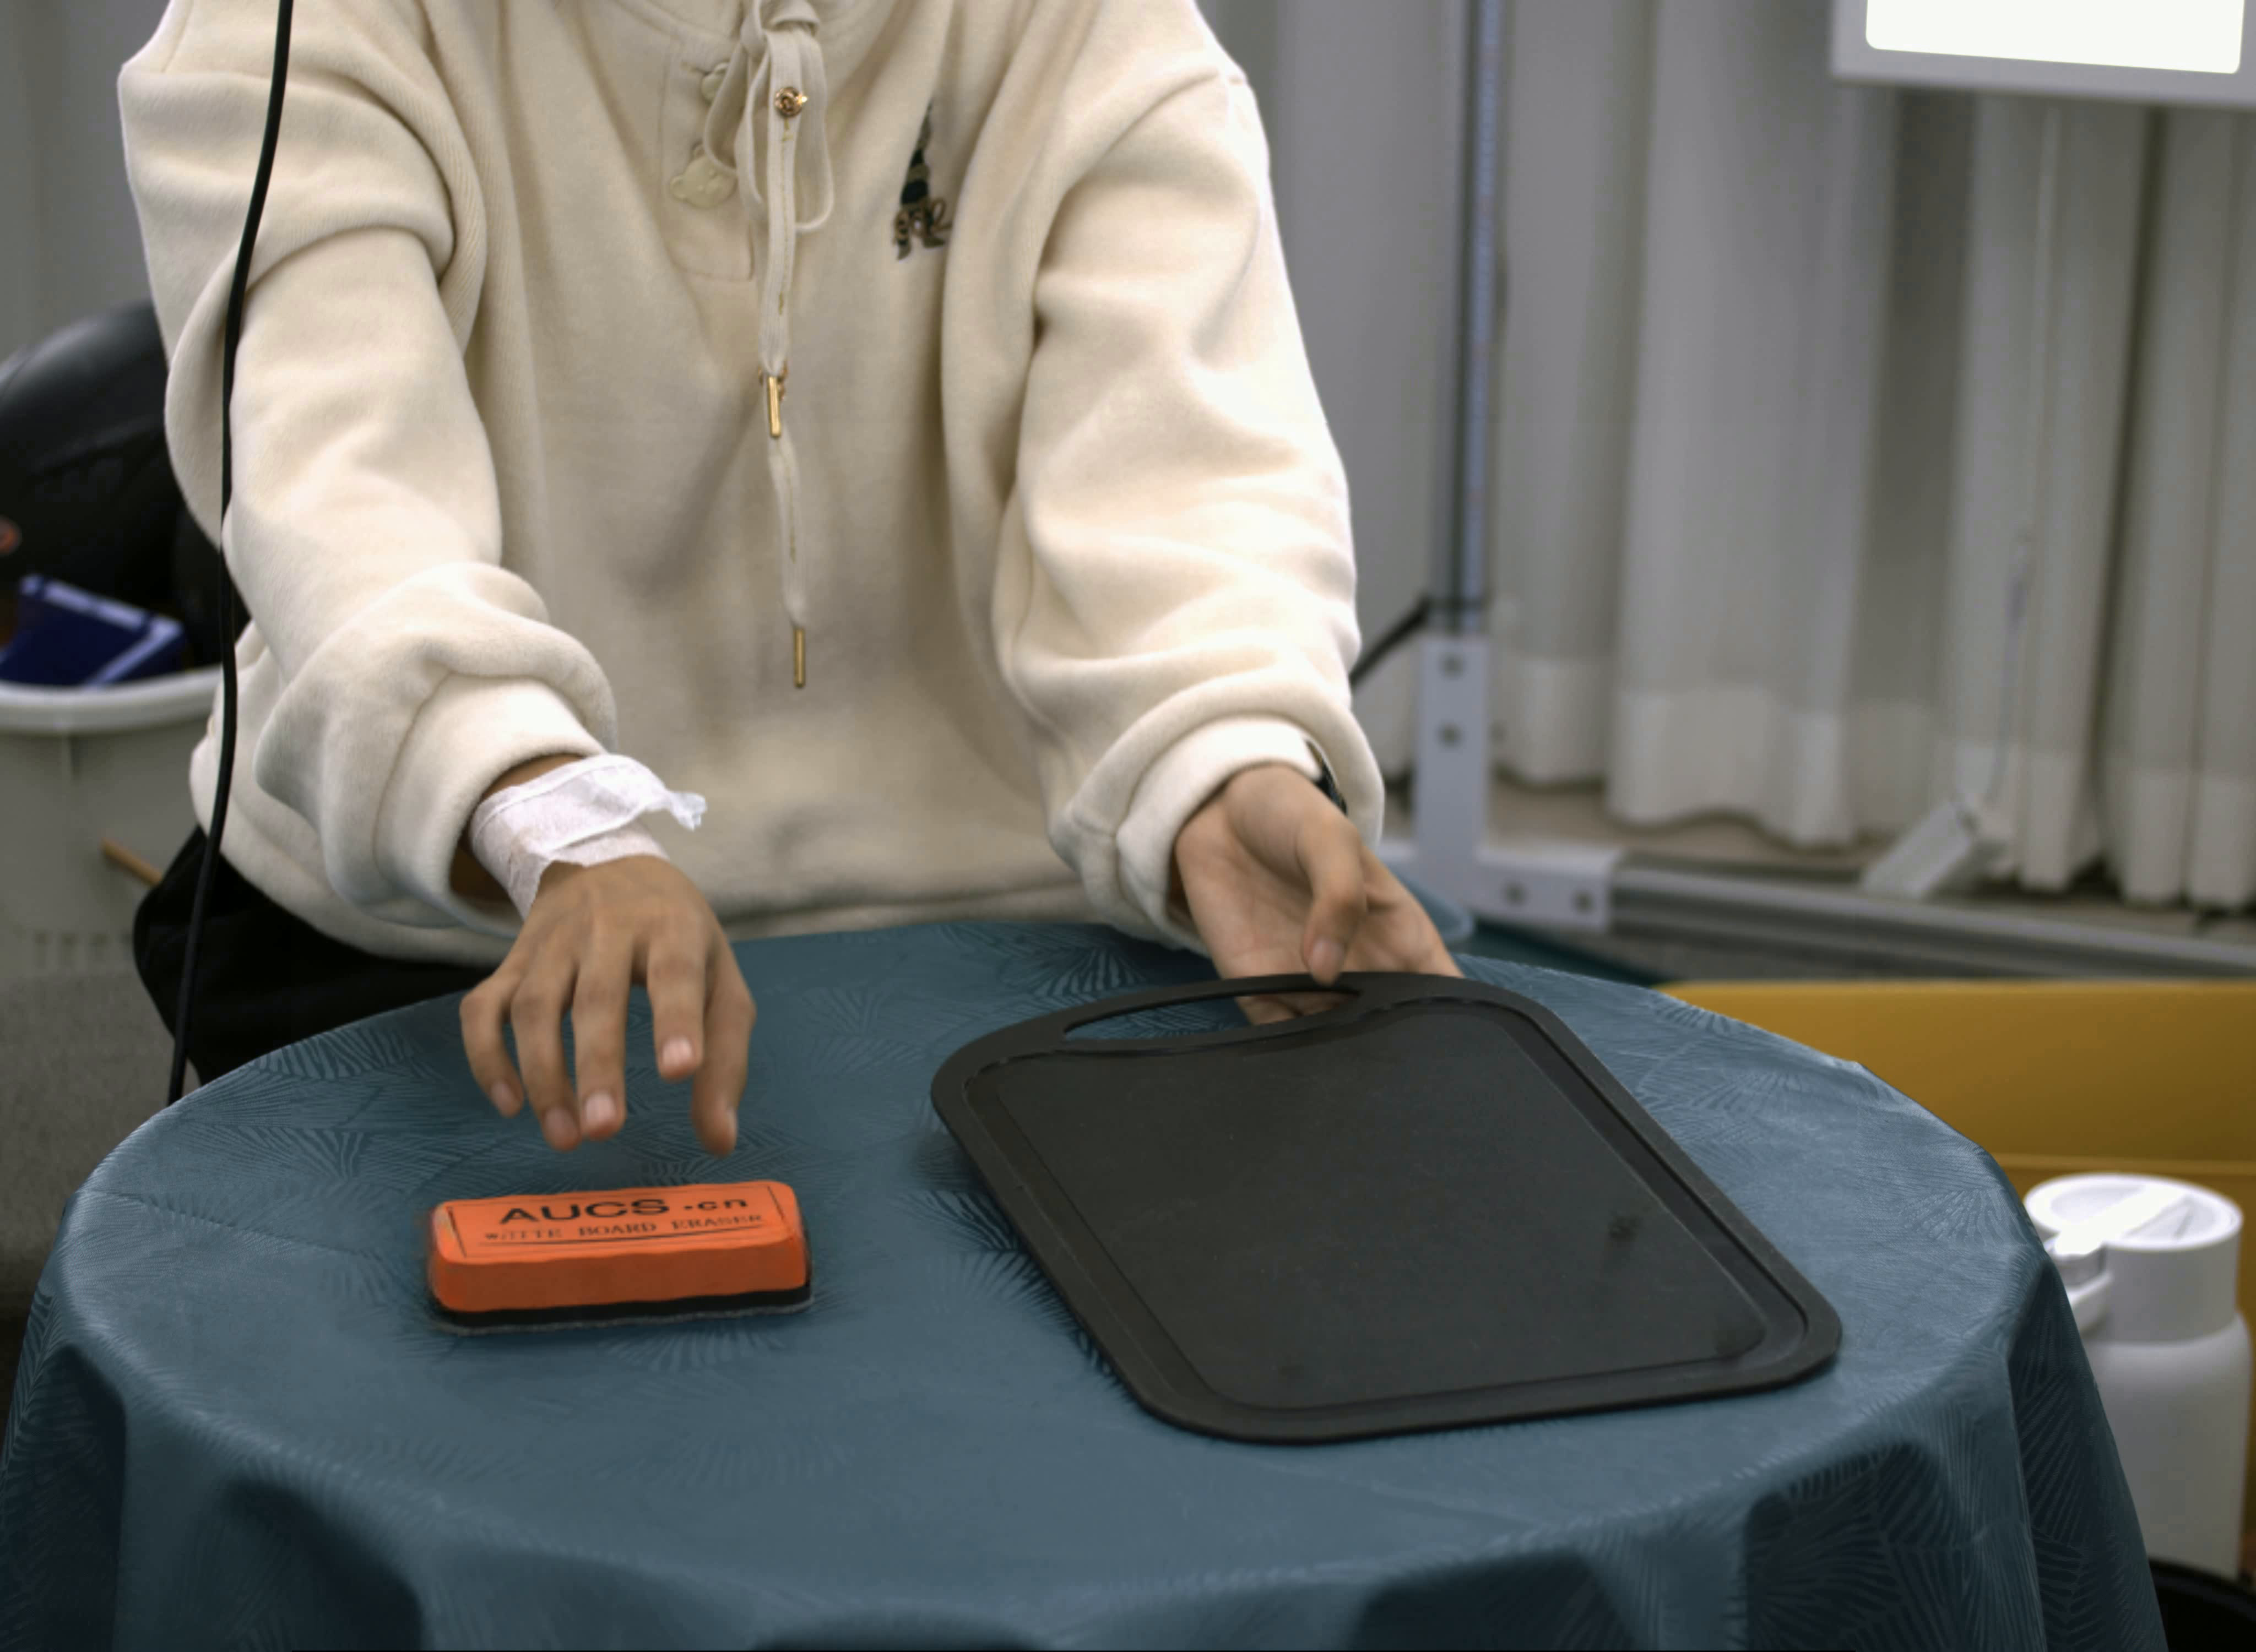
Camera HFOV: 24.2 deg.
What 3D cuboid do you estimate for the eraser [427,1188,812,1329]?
[{"bbox_3d":[-0.148,0.125,1.526,0.108,0.023,0.058,-2,13,-12],"label":"eraser"}]

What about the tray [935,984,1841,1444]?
[{"bbox_3d":[0.067,0.107,1.584,0.211,0.010,0.322,-6,21,-16],"label":"tray"}]
